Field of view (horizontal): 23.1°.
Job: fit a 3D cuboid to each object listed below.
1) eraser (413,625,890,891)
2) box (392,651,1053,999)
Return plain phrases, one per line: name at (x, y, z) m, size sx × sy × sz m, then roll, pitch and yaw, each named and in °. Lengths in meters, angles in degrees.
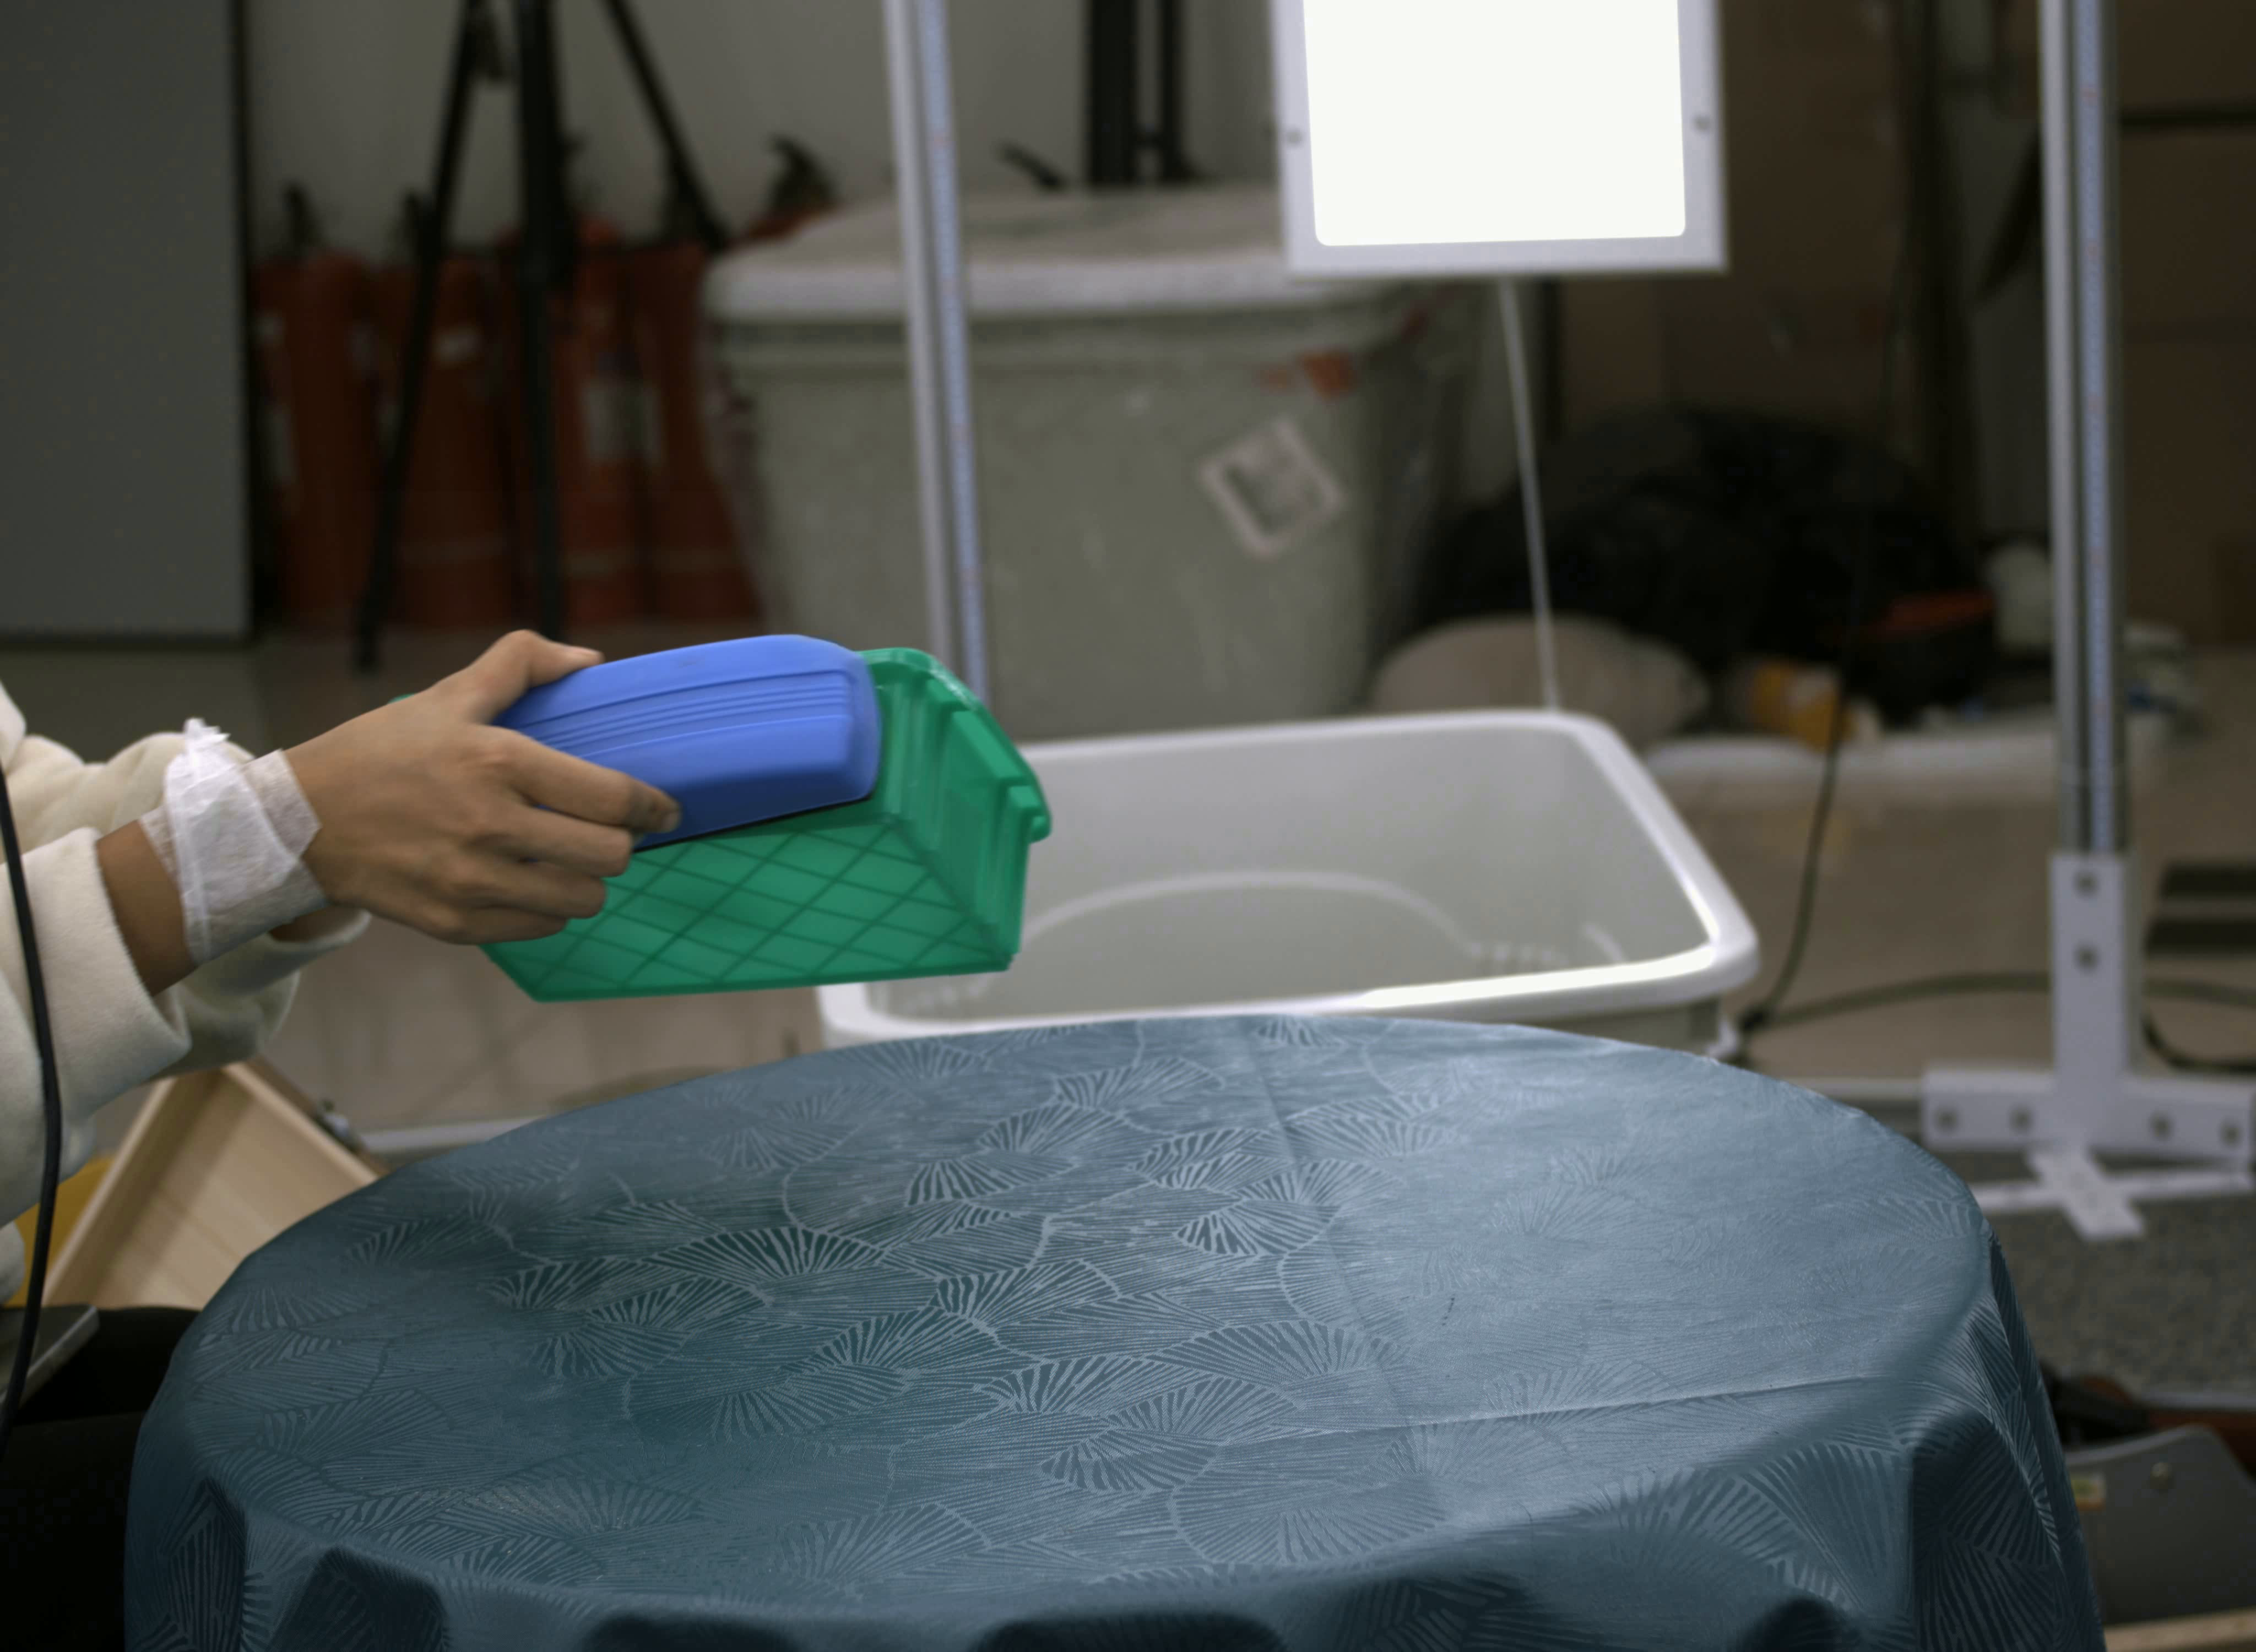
eraser at (-0.159, -0.024, 1.802) m, size 0.164 × 0.054 × 0.047 m, roll -13°, pitch -28°, yaw 18°
box at (-0.140, 0.004, 1.884) m, size 0.213 × 0.065 × 0.137 m, roll -2°, pitch -26°, yaw 20°
